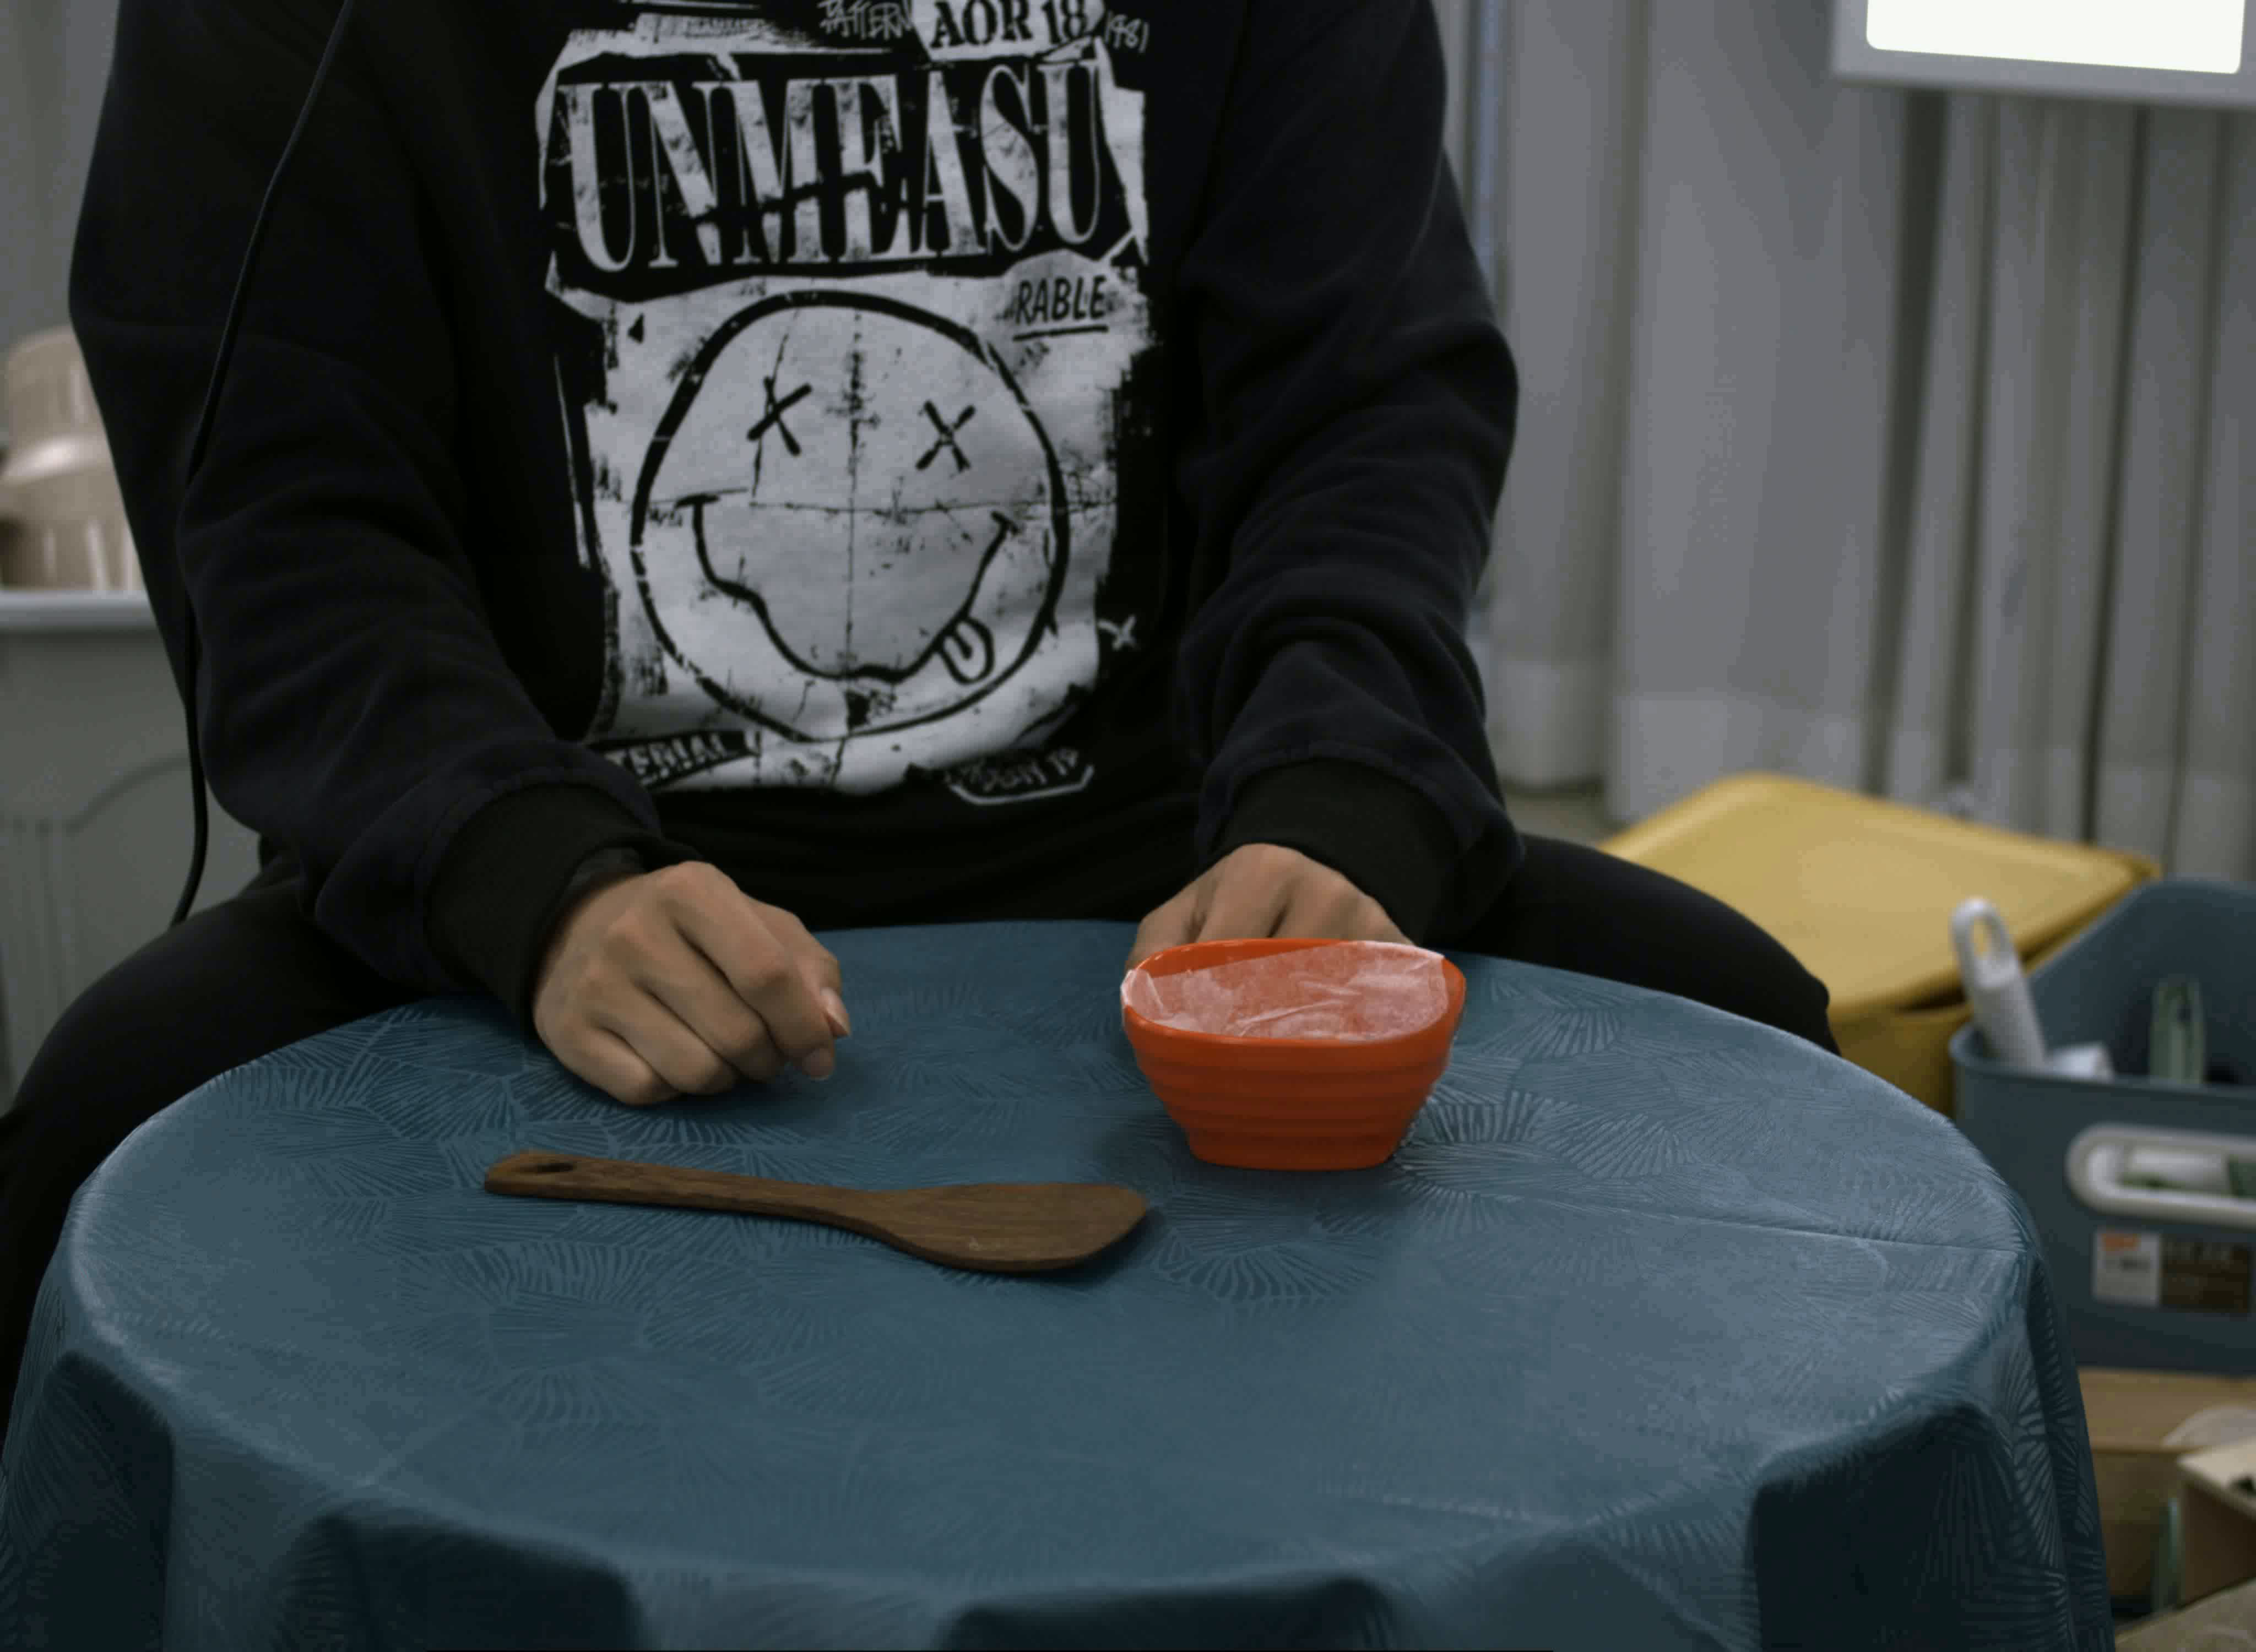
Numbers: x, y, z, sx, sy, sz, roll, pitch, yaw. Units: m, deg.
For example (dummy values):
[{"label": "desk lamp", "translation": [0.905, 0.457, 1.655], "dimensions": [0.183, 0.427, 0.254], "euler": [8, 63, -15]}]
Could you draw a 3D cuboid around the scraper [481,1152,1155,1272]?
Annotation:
[{"label": "scraper", "translation": [-0.097, 0.114, 1.602], "dimensions": [0.209, 0.011, 0.076], "euler": [5, 16, 16]}]

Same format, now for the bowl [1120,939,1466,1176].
[{"label": "bowl", "translation": [0.052, 0.076, 1.670], "dimensions": [0.118, 0.052, 0.118], "euler": [0, 17, 0]}]
